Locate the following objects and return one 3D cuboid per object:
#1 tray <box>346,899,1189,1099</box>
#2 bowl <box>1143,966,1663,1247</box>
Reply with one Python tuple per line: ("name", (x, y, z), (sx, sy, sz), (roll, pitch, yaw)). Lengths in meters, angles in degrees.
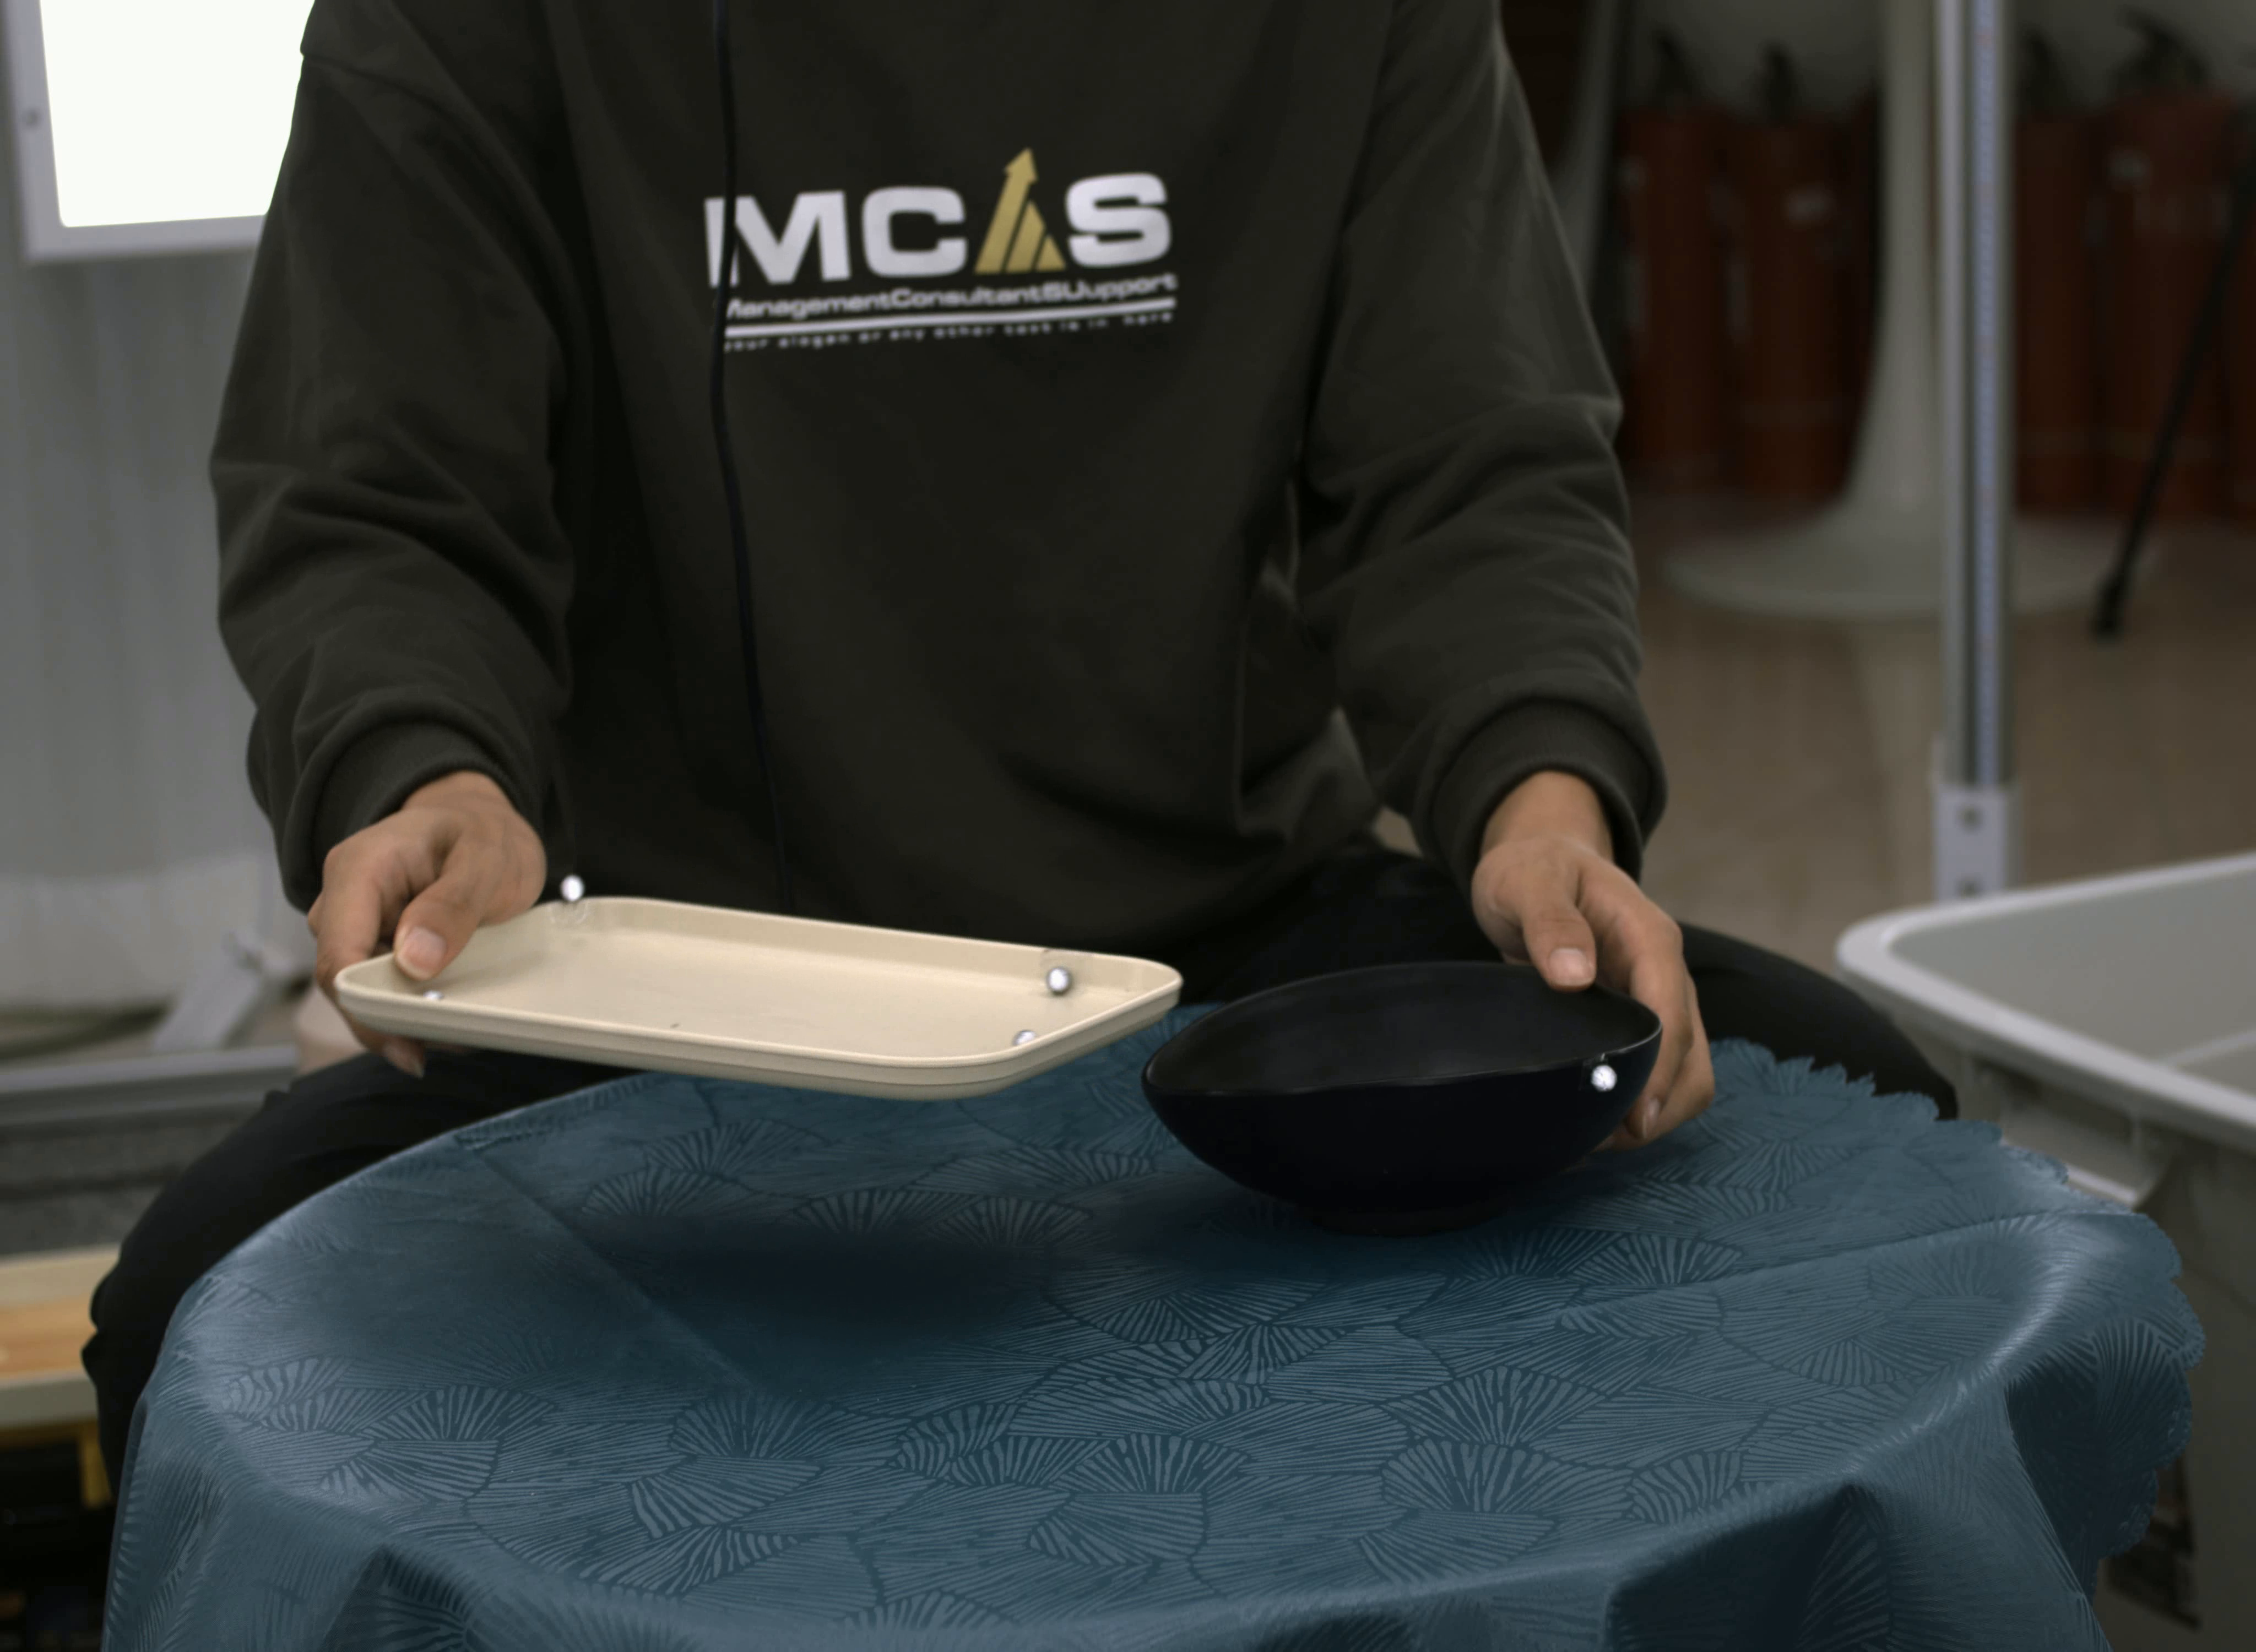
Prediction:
("tray", (-0.112, 0.054, 1.700), (0.240, 0.018, 0.169), (6, 11, 26))
("bowl", (0.090, 0.095, 1.733), (0.168, 0.067, 0.137), (-6, 12, -2))
